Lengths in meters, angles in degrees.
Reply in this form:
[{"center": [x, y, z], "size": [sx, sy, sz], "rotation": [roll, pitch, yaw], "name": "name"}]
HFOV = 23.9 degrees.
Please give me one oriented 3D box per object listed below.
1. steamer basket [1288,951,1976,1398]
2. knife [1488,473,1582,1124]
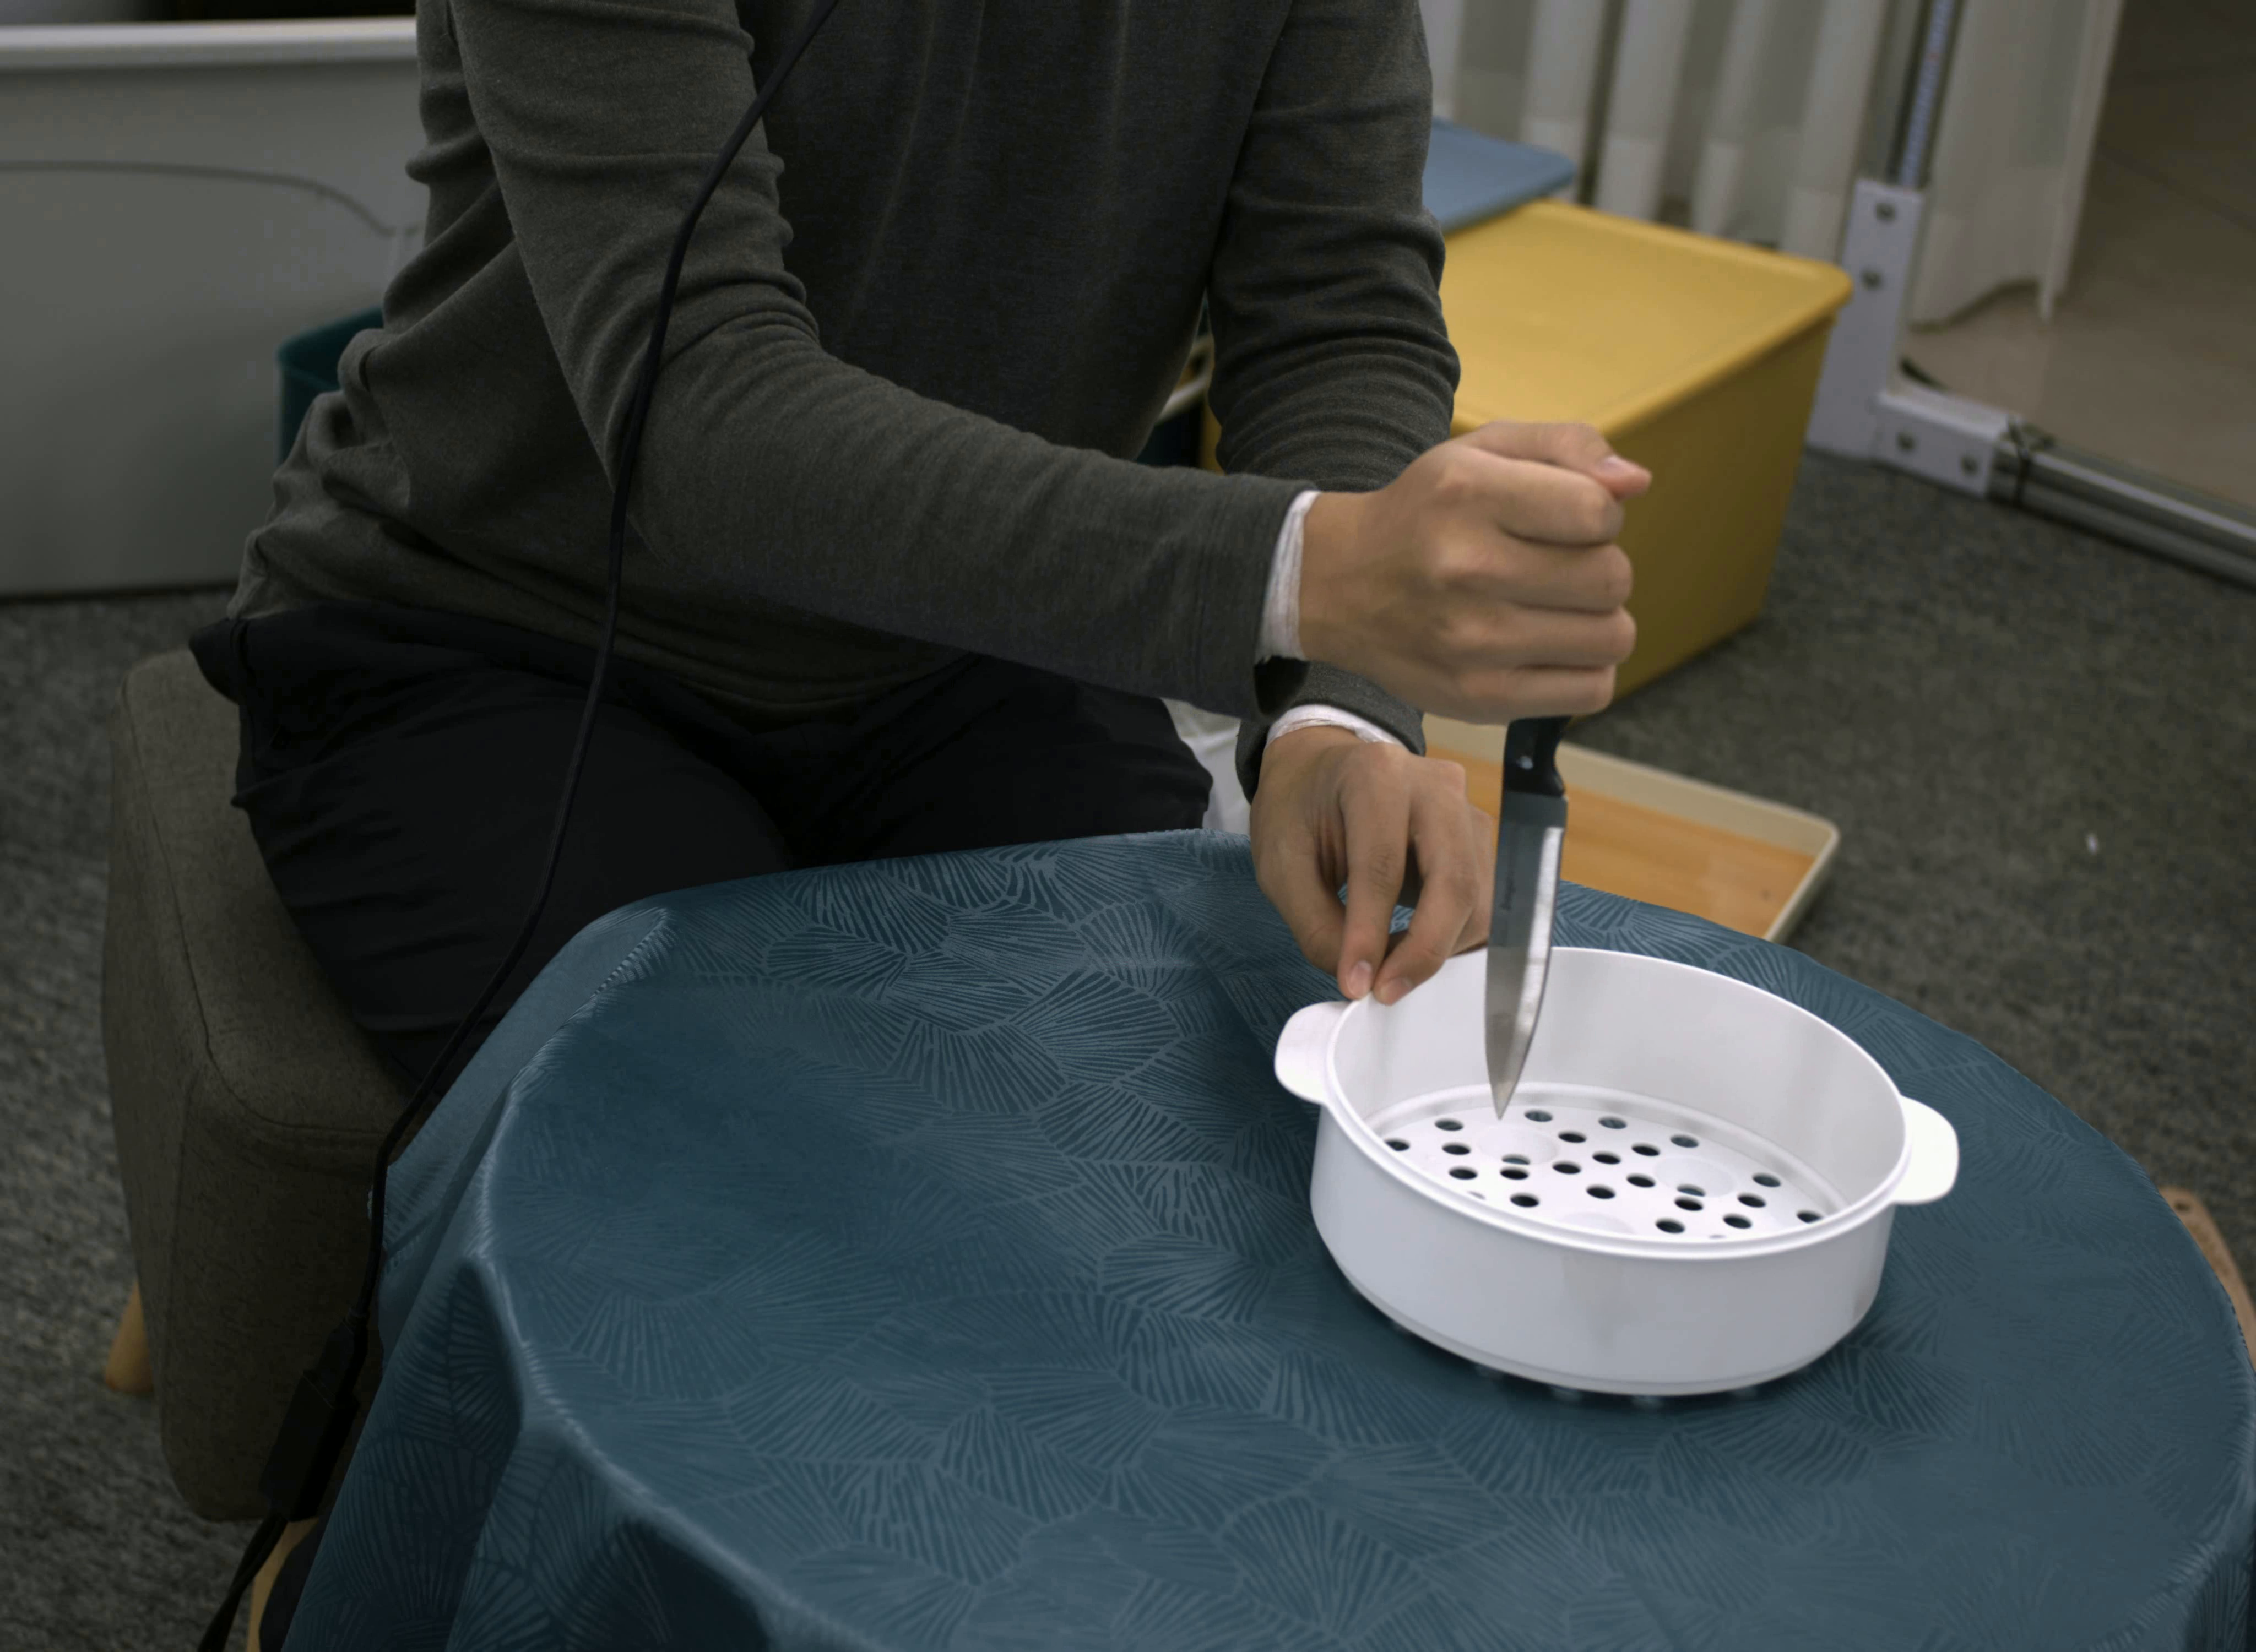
[{"center": [0.165, 0.116, 1.782], "size": [0.230, 0.069, 0.202], "rotation": [9, 26, 7], "name": "steamer basket"}, {"center": [0.129, -0.006, 1.727], "size": [0.024, 0.237, 0.016], "rotation": [12, 29, 19], "name": "knife"}]
